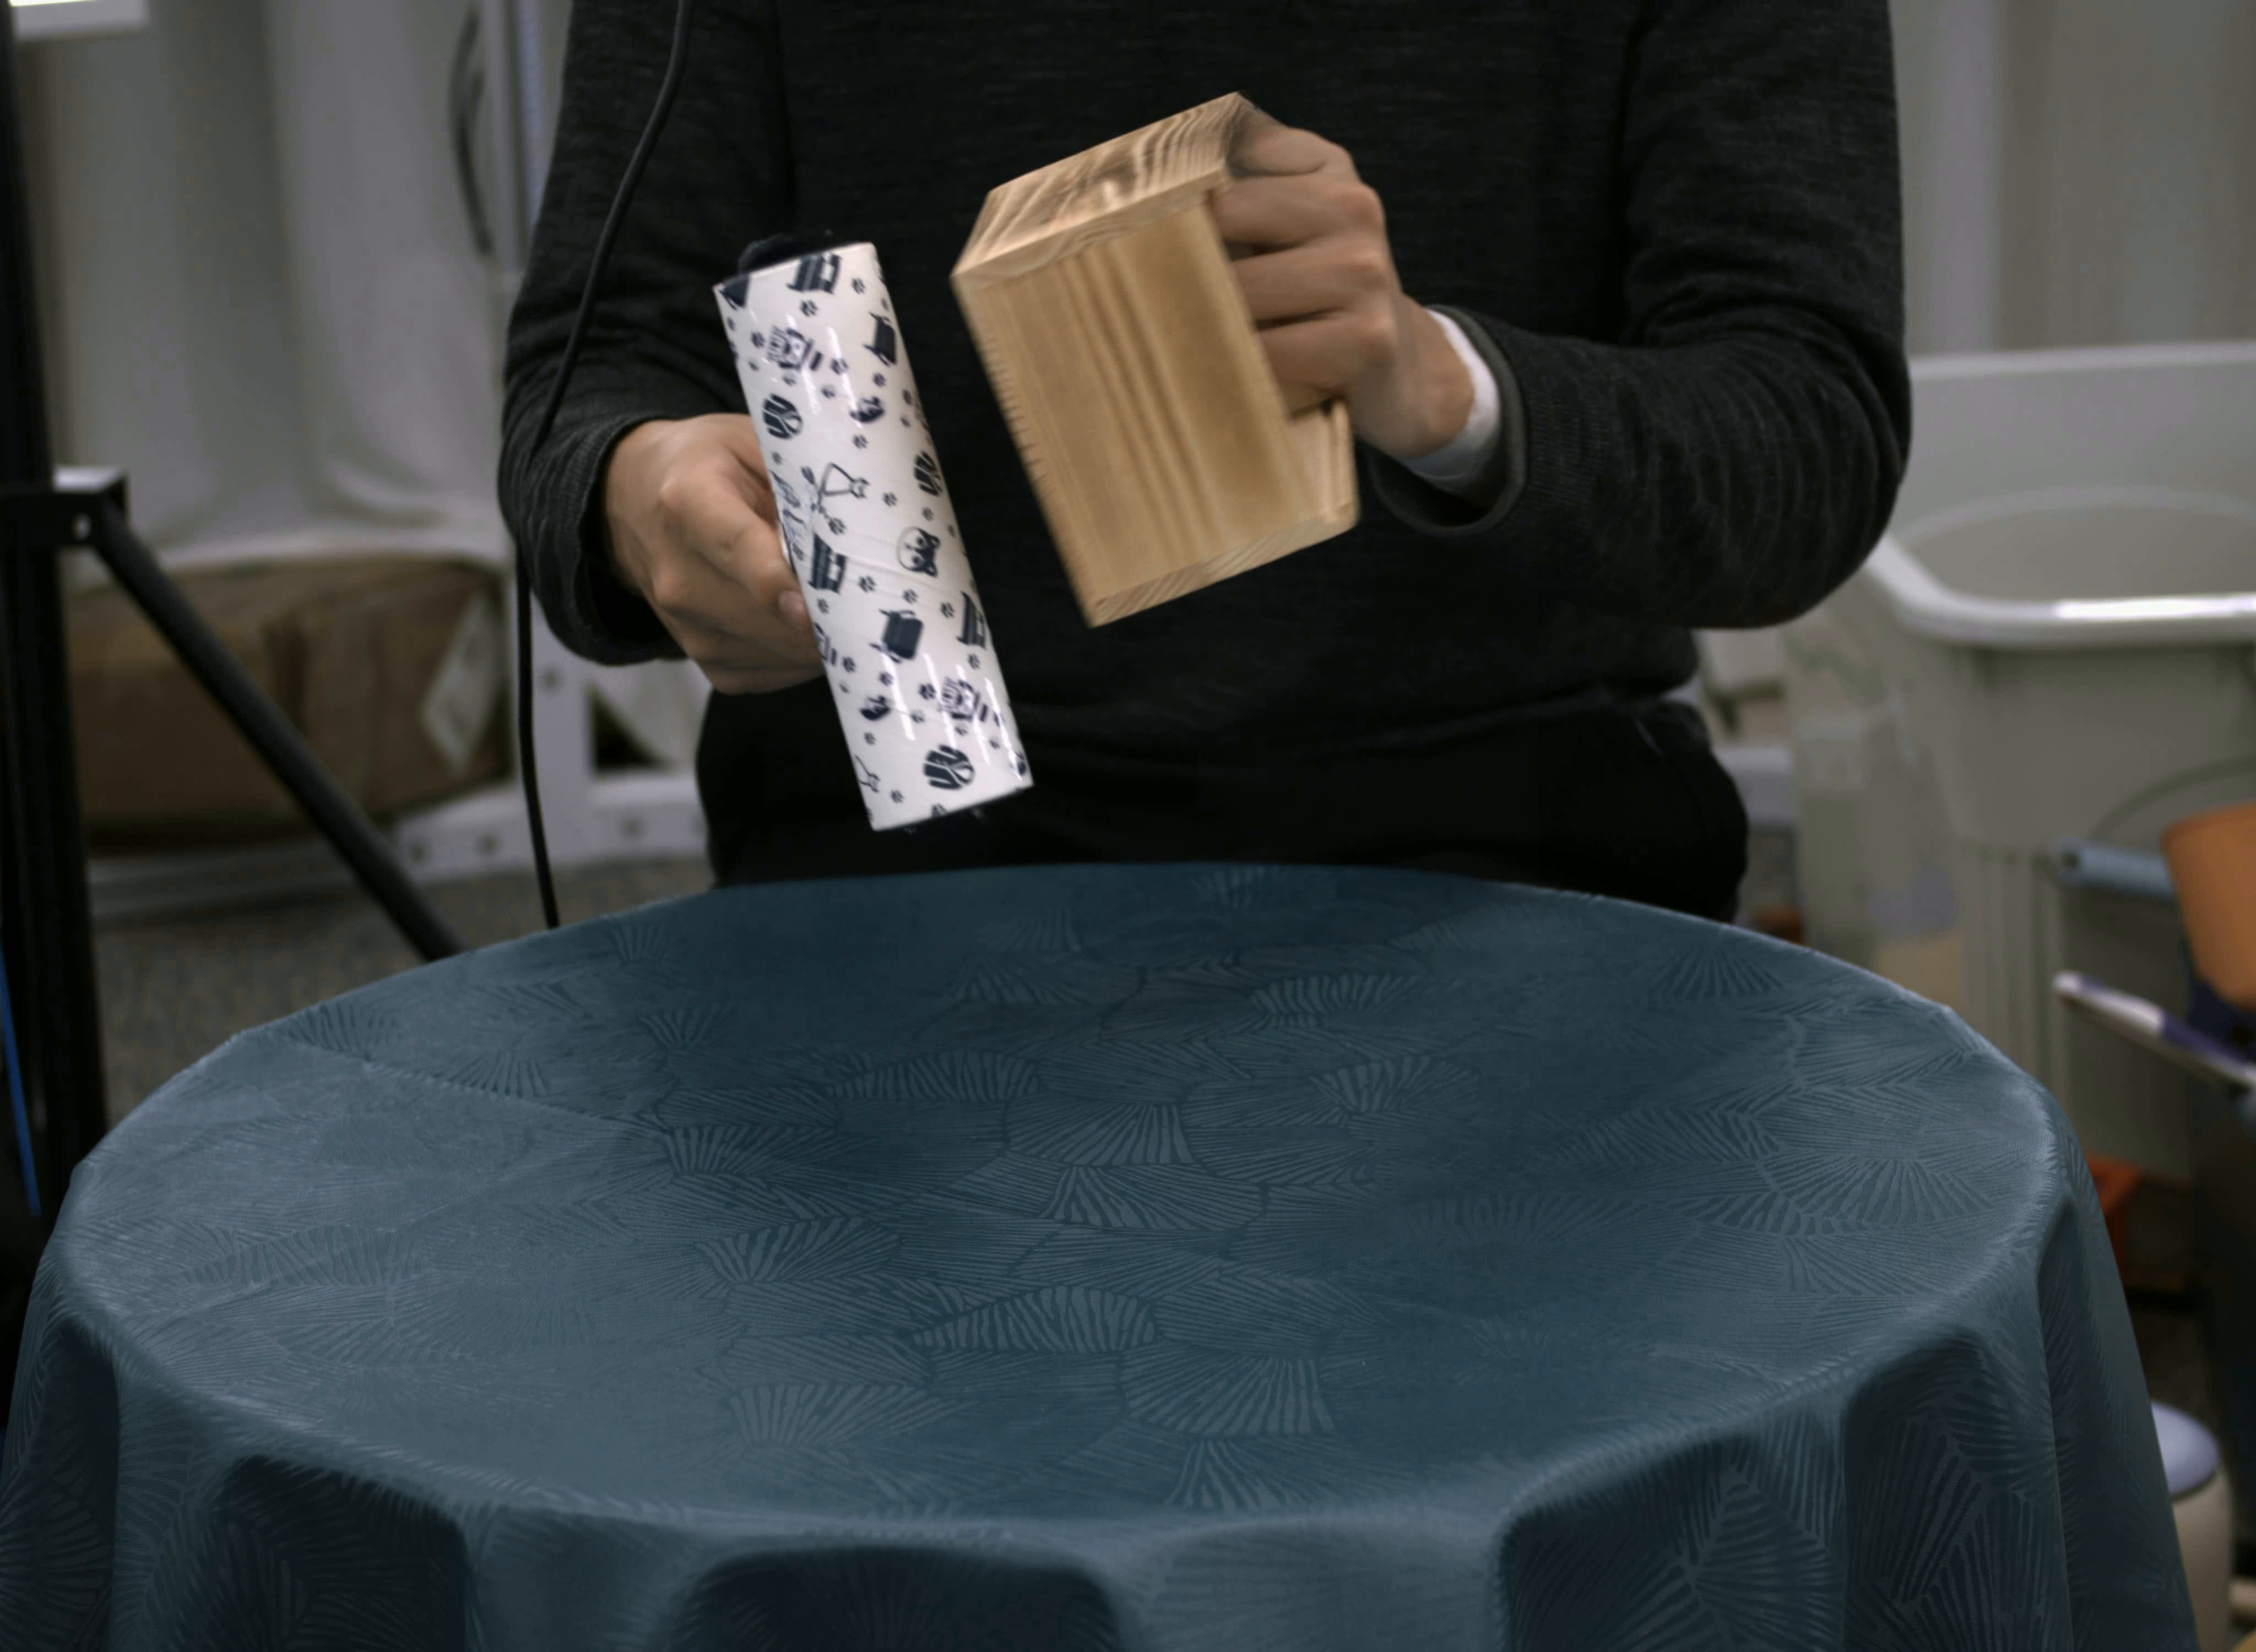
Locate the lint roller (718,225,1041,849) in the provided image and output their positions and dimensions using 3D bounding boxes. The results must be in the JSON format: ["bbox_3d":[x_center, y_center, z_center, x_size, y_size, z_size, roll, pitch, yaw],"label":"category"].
[{"bbox_3d":[-0.091,-0.078,1.596,0.050,0.177,0.249,-17,2,-13],"label":"lint roller"}]

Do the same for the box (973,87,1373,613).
[{"bbox_3d":[0.014,-0.141,1.543,0.080,0.107,0.212,-20,11,5],"label":"box"}]
